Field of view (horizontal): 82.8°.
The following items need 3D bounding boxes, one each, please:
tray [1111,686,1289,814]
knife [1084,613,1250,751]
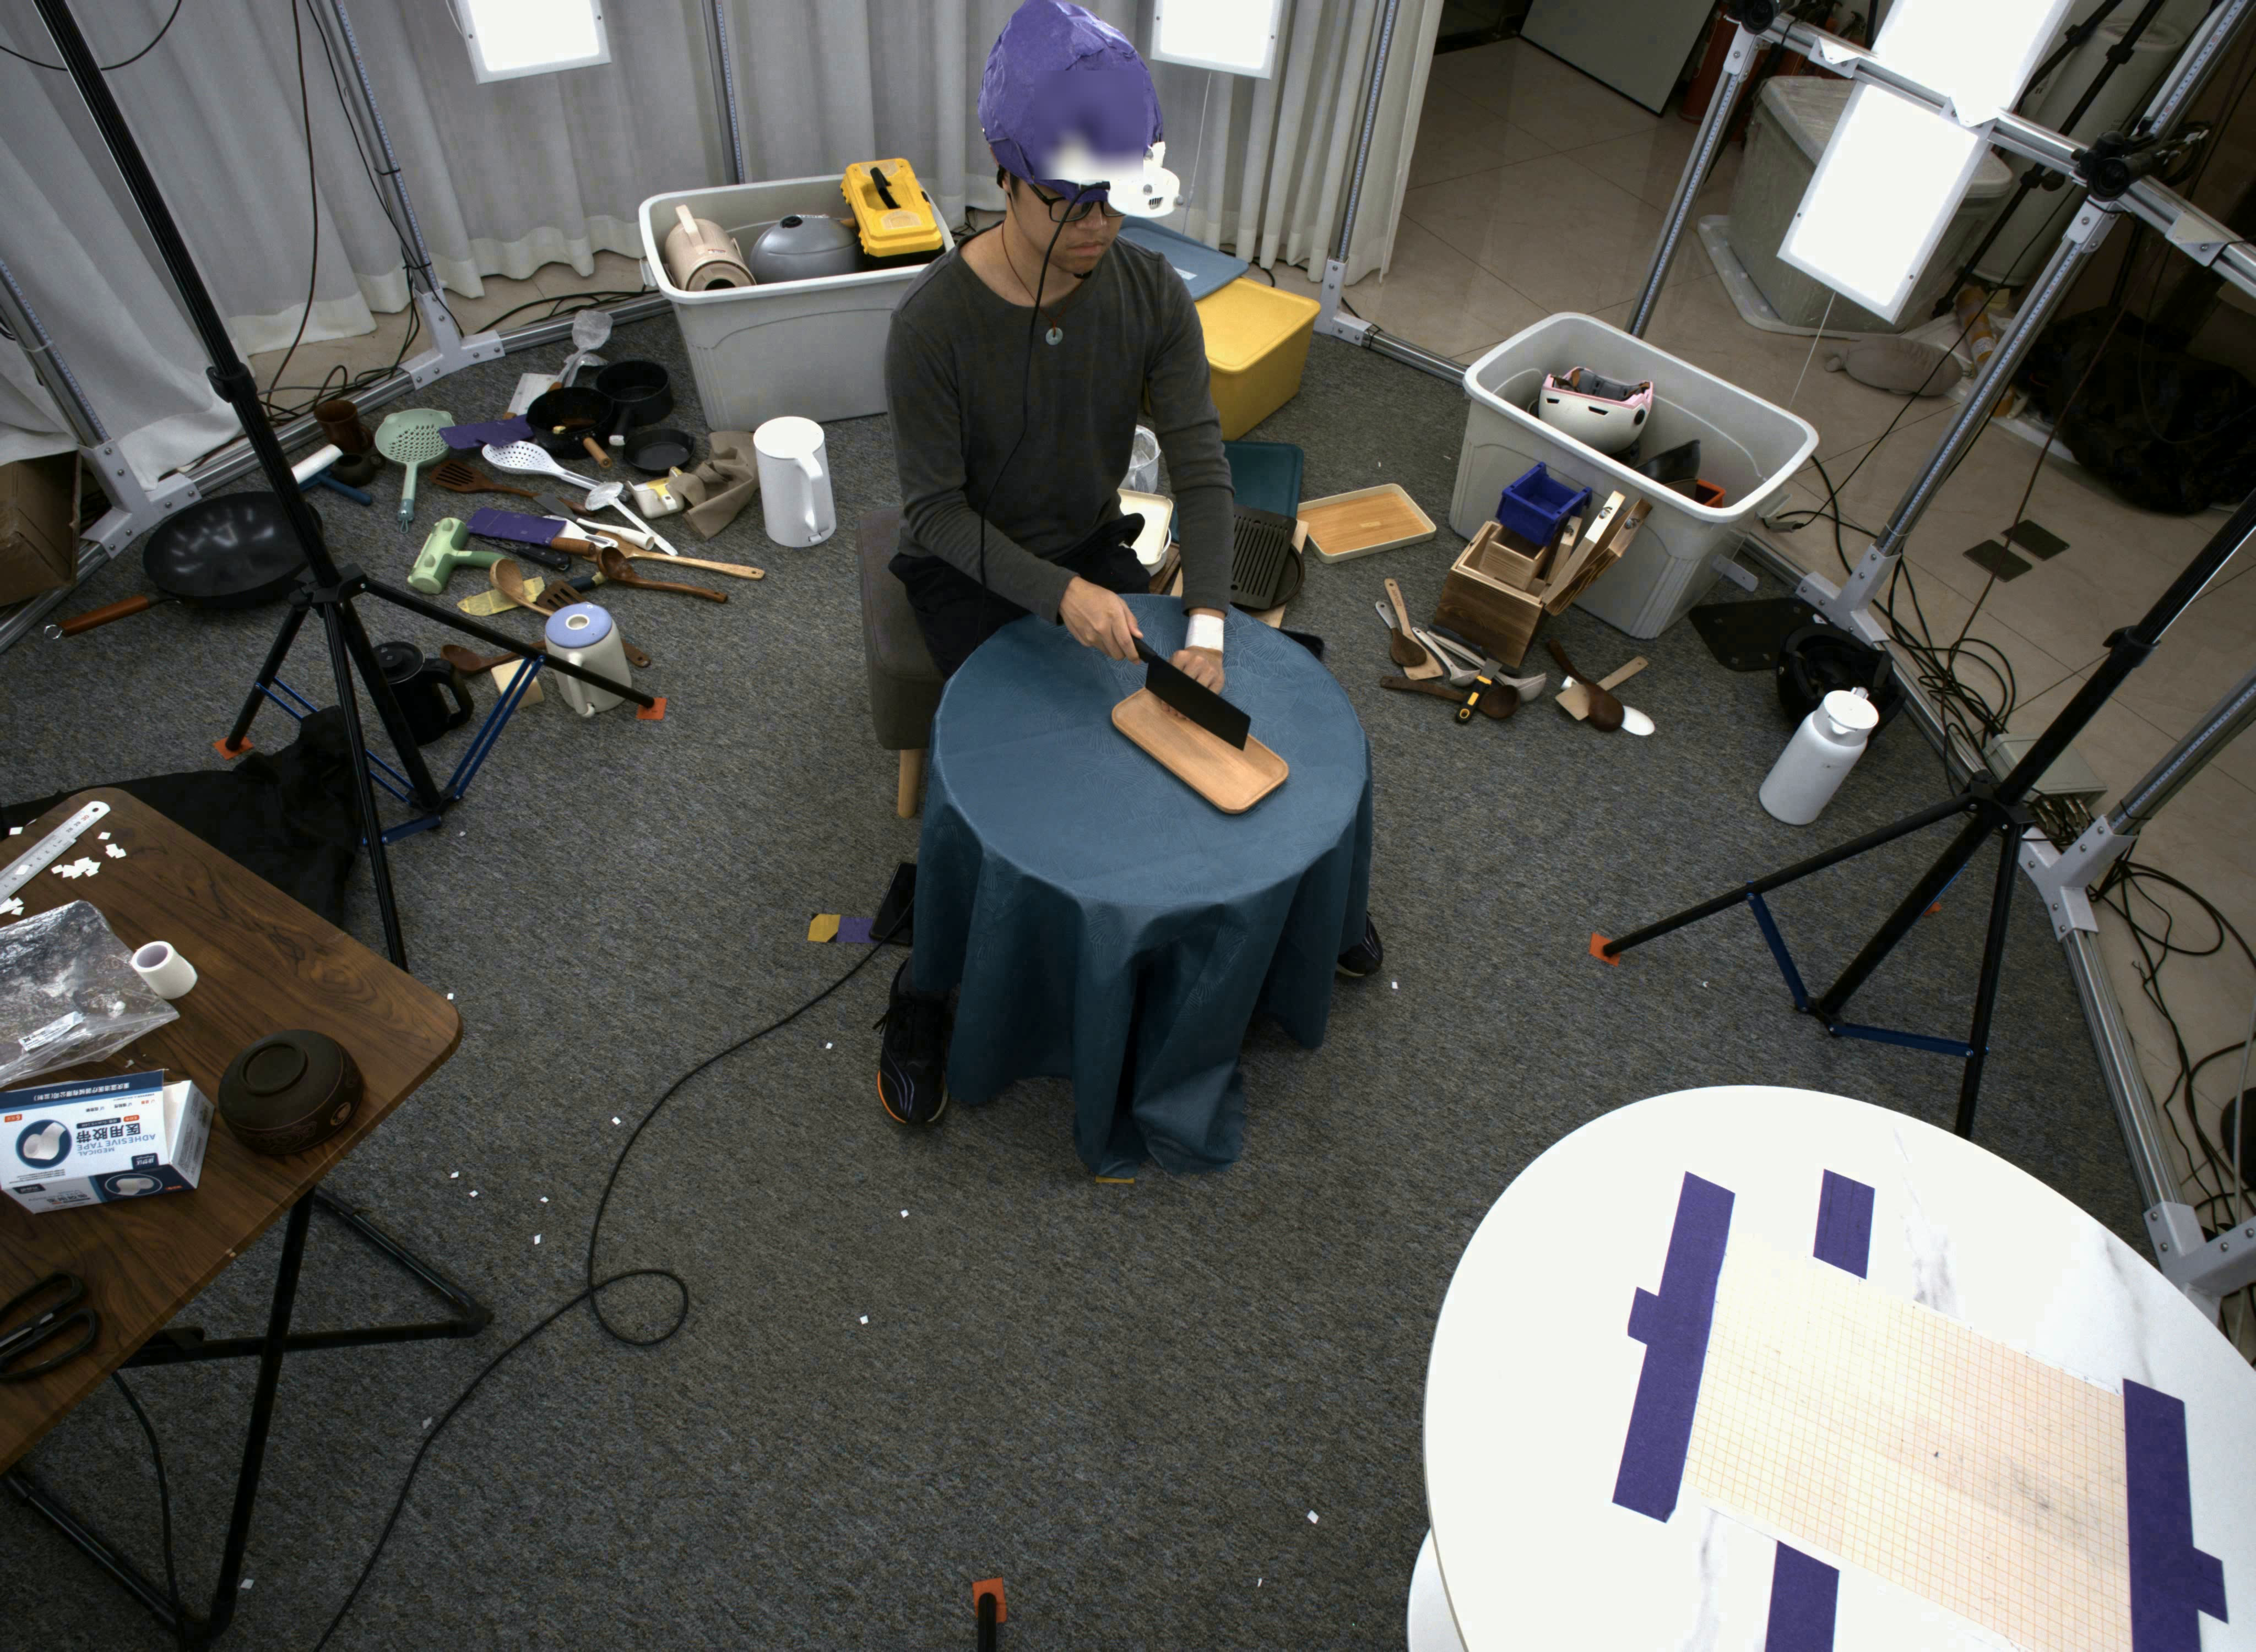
[{"bbox_3d":[0.097,-0.113,1.762,0.131,0.022,0.255,-32,57,-30],"label":"tray"},{"bbox_3d":[0.050,-0.204,1.760,0.306,0.079,0.021,40,51,24],"label":"knife"}]
